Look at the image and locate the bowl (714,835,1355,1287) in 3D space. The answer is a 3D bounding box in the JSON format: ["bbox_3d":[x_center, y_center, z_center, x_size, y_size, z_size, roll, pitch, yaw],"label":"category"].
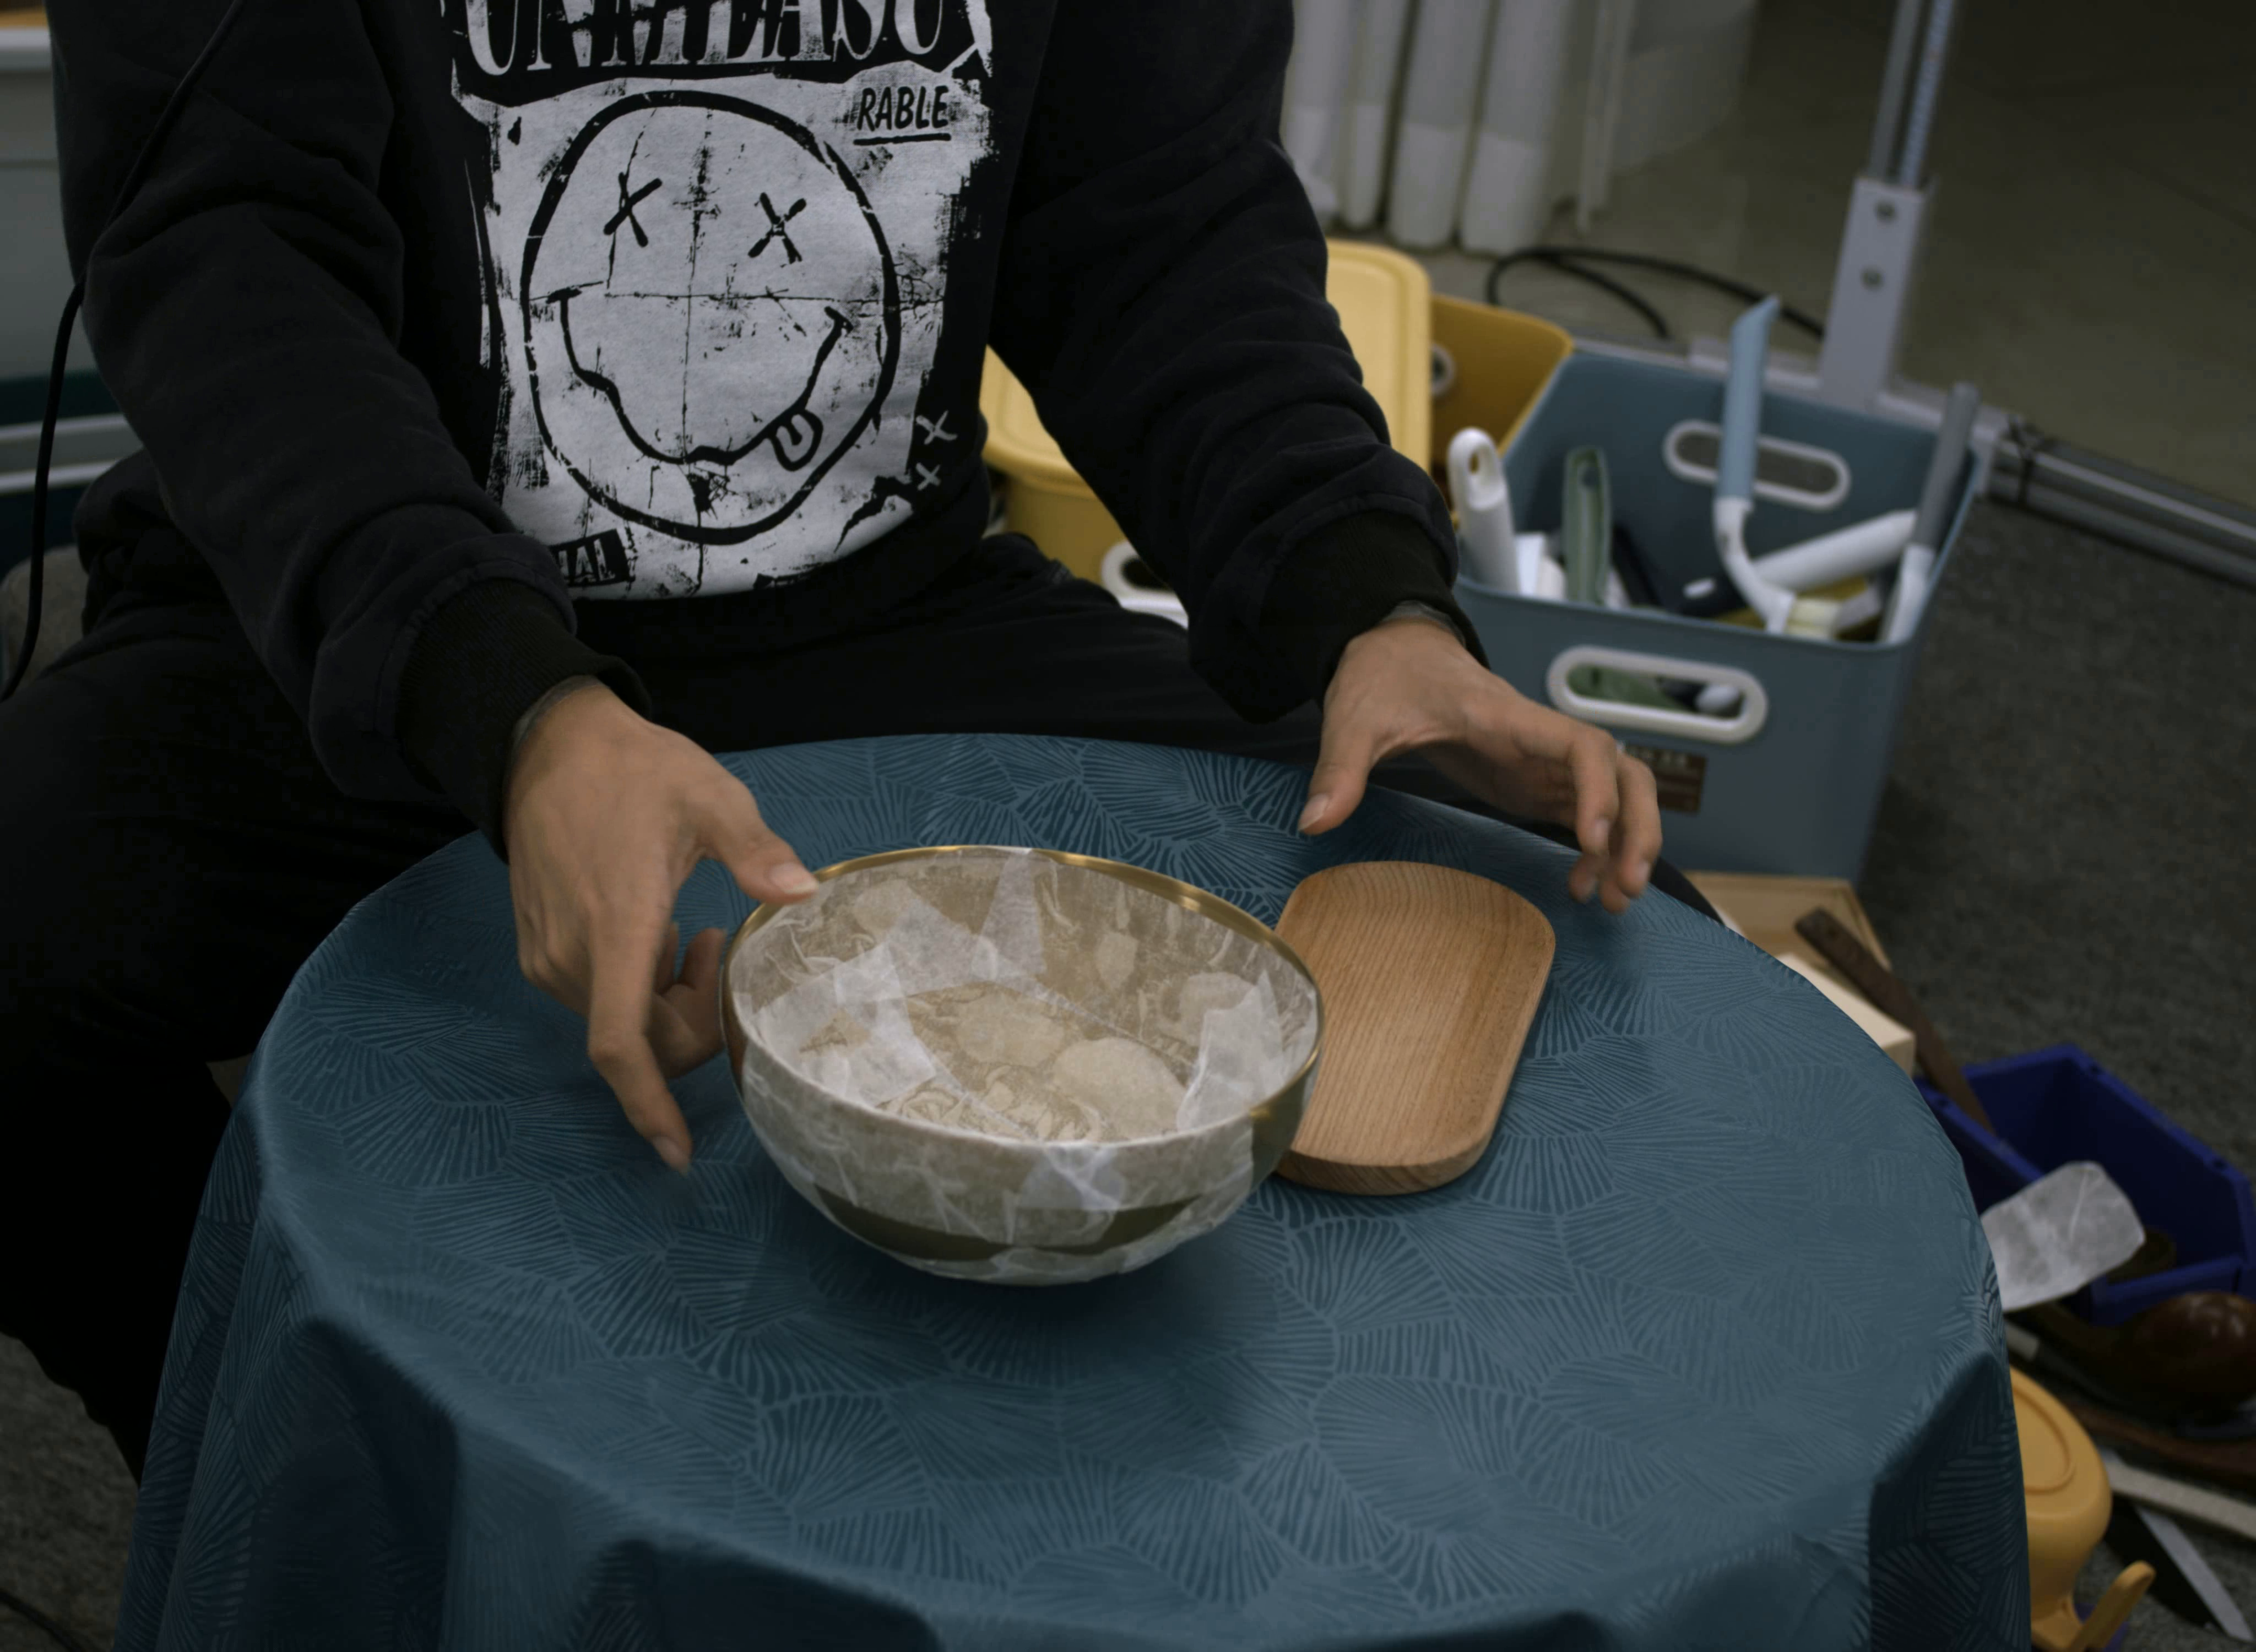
[{"bbox_3d":[-0.035,0.090,1.757,0.214,0.094,0.216,4,27,-2],"label":"bowl"}]

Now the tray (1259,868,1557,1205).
[{"bbox_3d":[0.094,0.073,1.905,0.101,0.020,0.232,9,28,9],"label":"tray"}]
